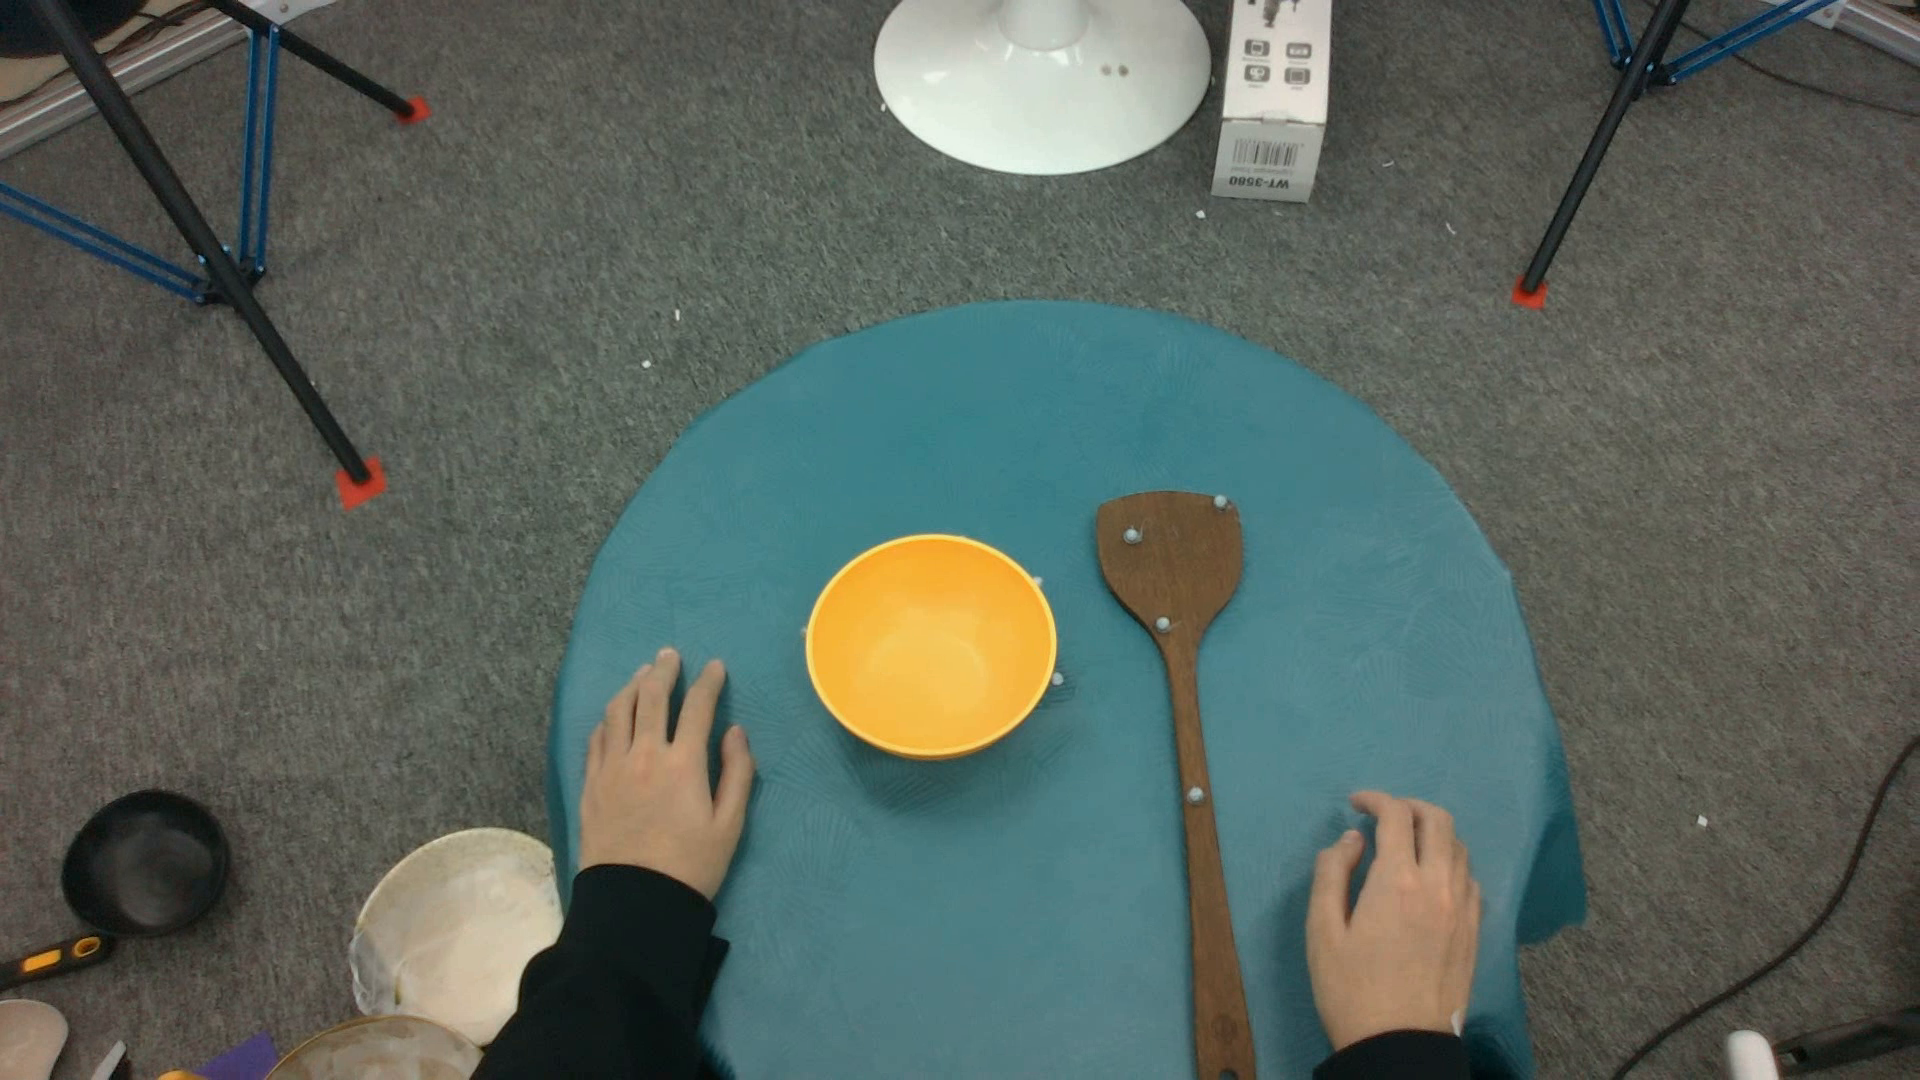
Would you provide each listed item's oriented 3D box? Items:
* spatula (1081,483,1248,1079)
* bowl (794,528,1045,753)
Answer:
[{"bbox_3d":[0.129,0.126,0.801,0.096,0.016,0.387,-1,57,0],"label":"spatula"},{"bbox_3d":[-0.022,0.068,0.814,0.145,0.060,0.146,-1,57,2],"label":"bowl"}]
